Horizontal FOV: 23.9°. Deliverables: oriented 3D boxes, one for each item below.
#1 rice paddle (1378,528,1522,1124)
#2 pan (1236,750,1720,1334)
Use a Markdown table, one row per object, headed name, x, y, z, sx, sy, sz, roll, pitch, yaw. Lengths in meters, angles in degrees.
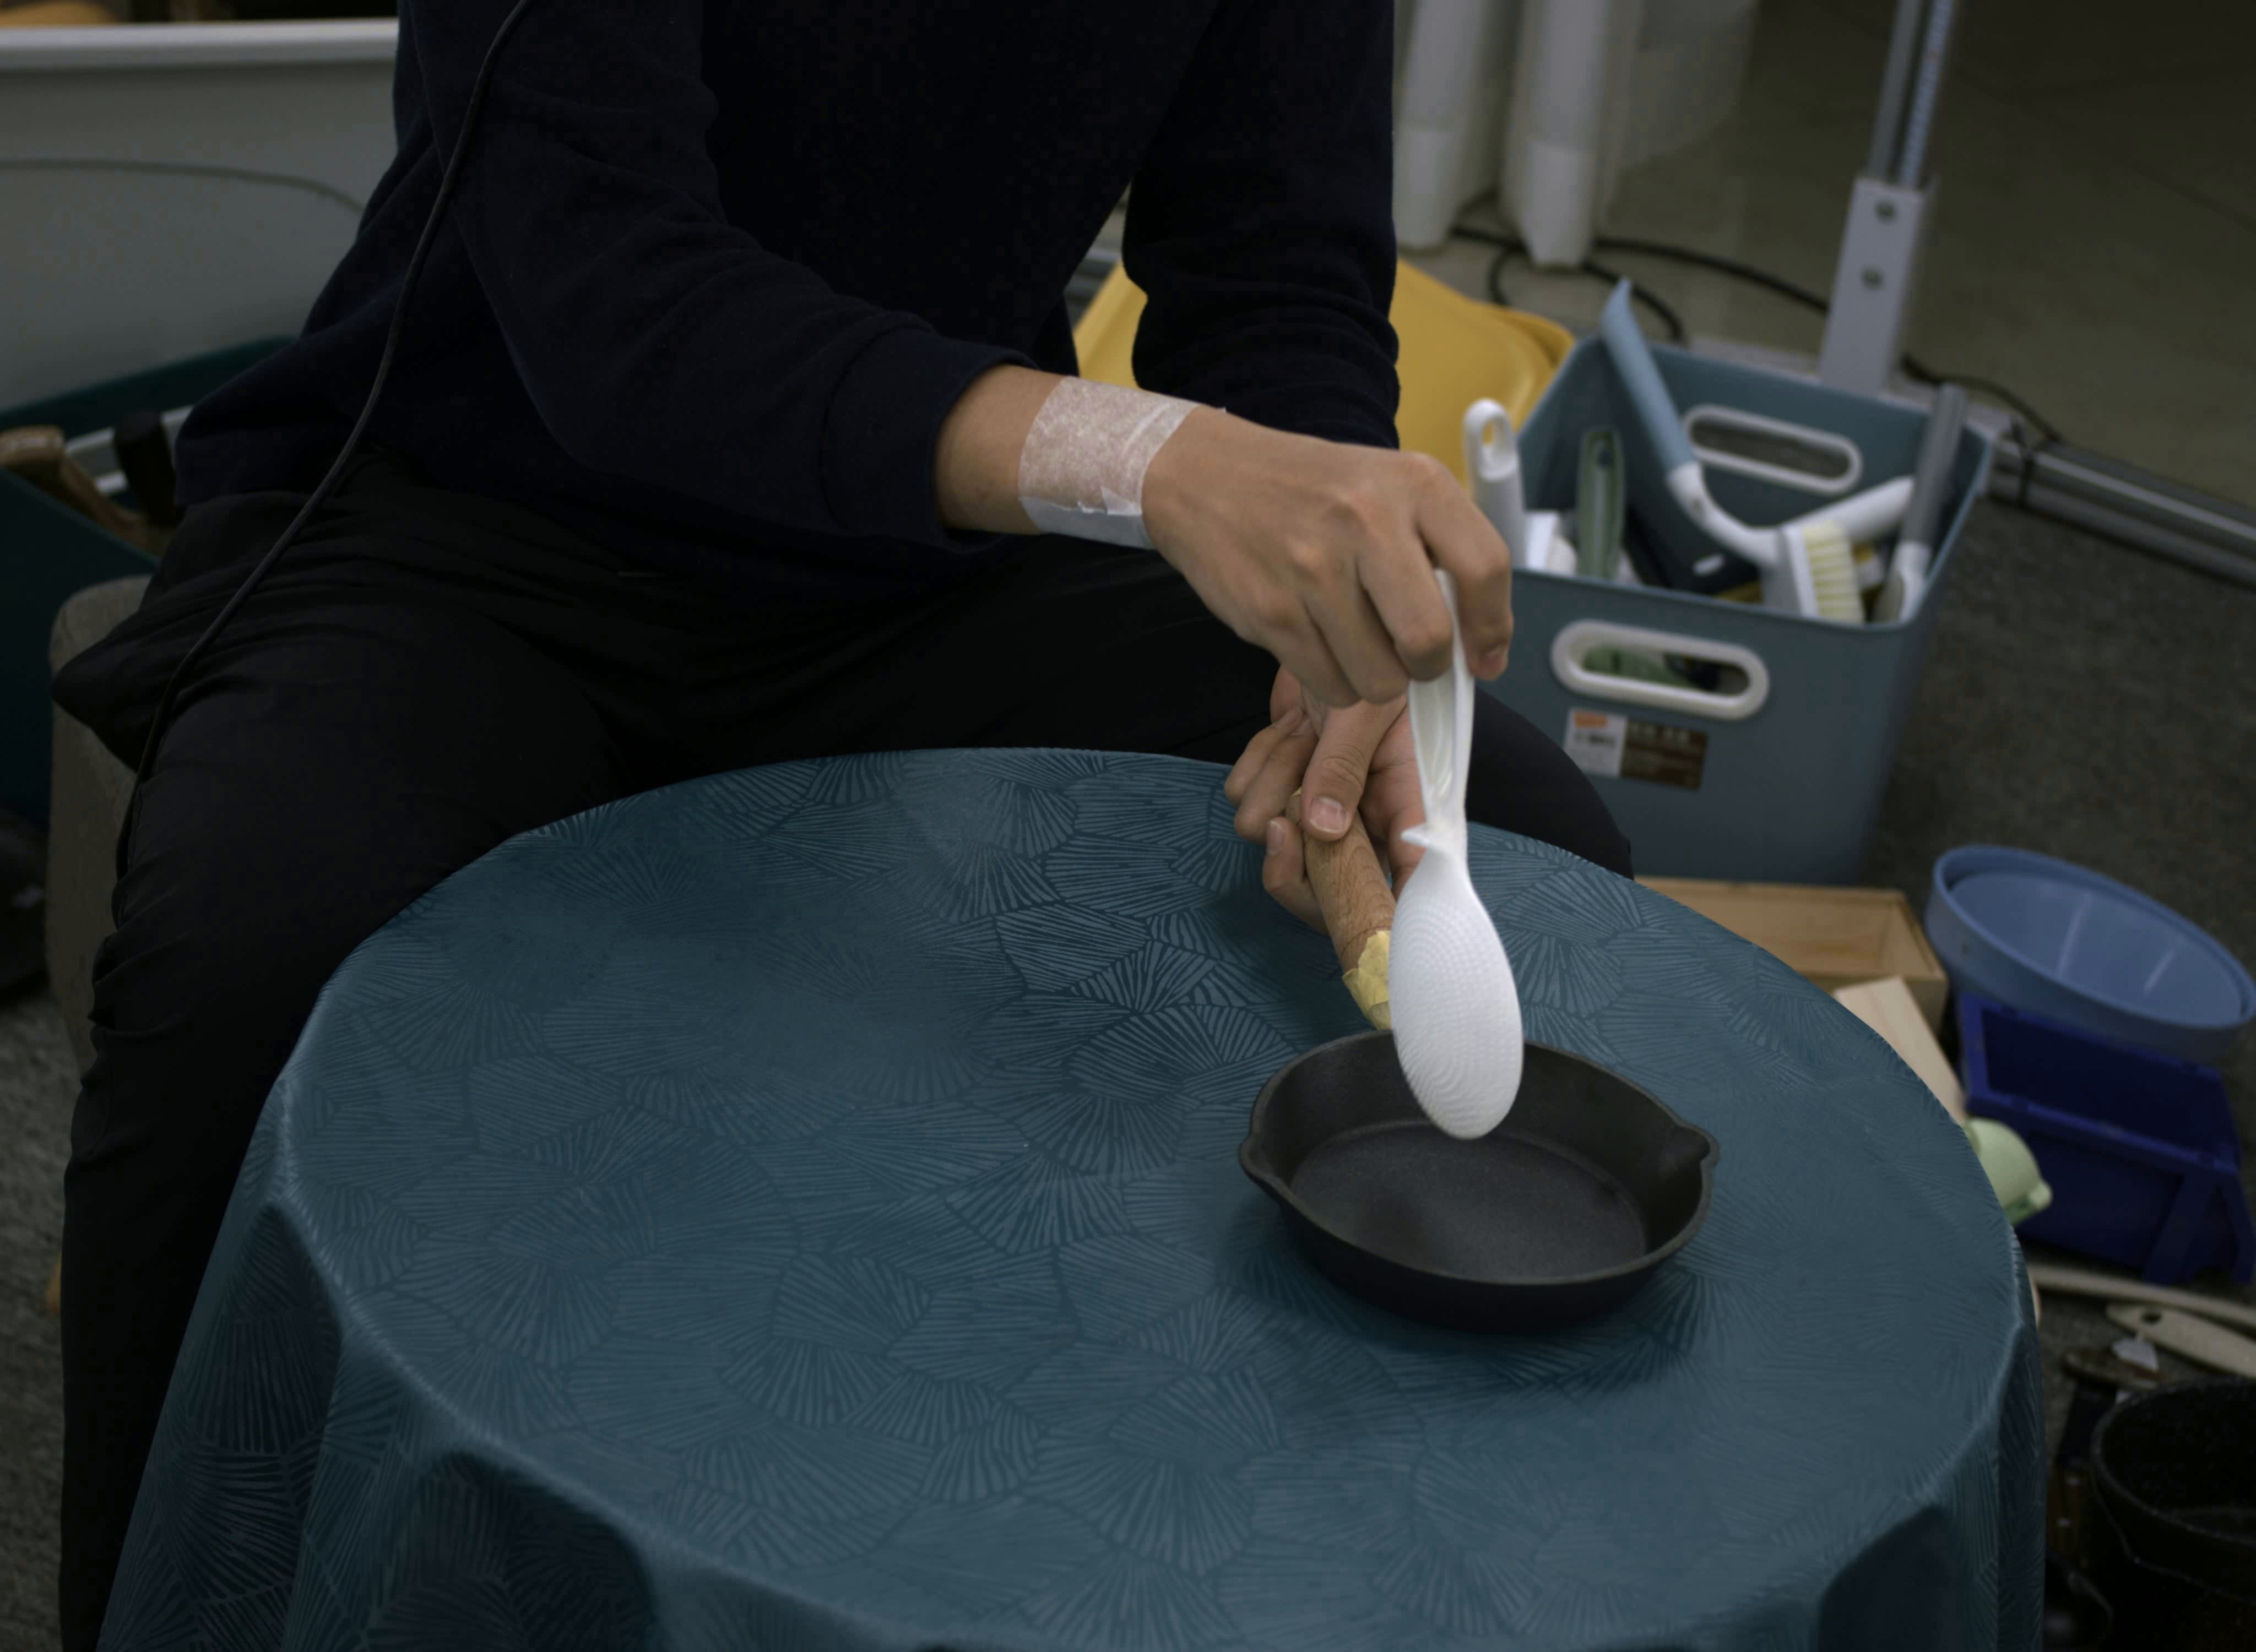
| name | x | y | z | sx | sy | sz | roll | pitch | yaw |
| --- | --- | --- | --- | --- | --- | --- | --- | --- | --- |
| rice paddle | 0.105 | 0.003 | 1.765 | 0.029 | 0.205 | 0.069 | -17 | 22 | -32 |
| pan | 0.101 | 0.073 | 1.860 | 0.168 | 0.049 | 0.327 | 0 | 31 | -13 |
